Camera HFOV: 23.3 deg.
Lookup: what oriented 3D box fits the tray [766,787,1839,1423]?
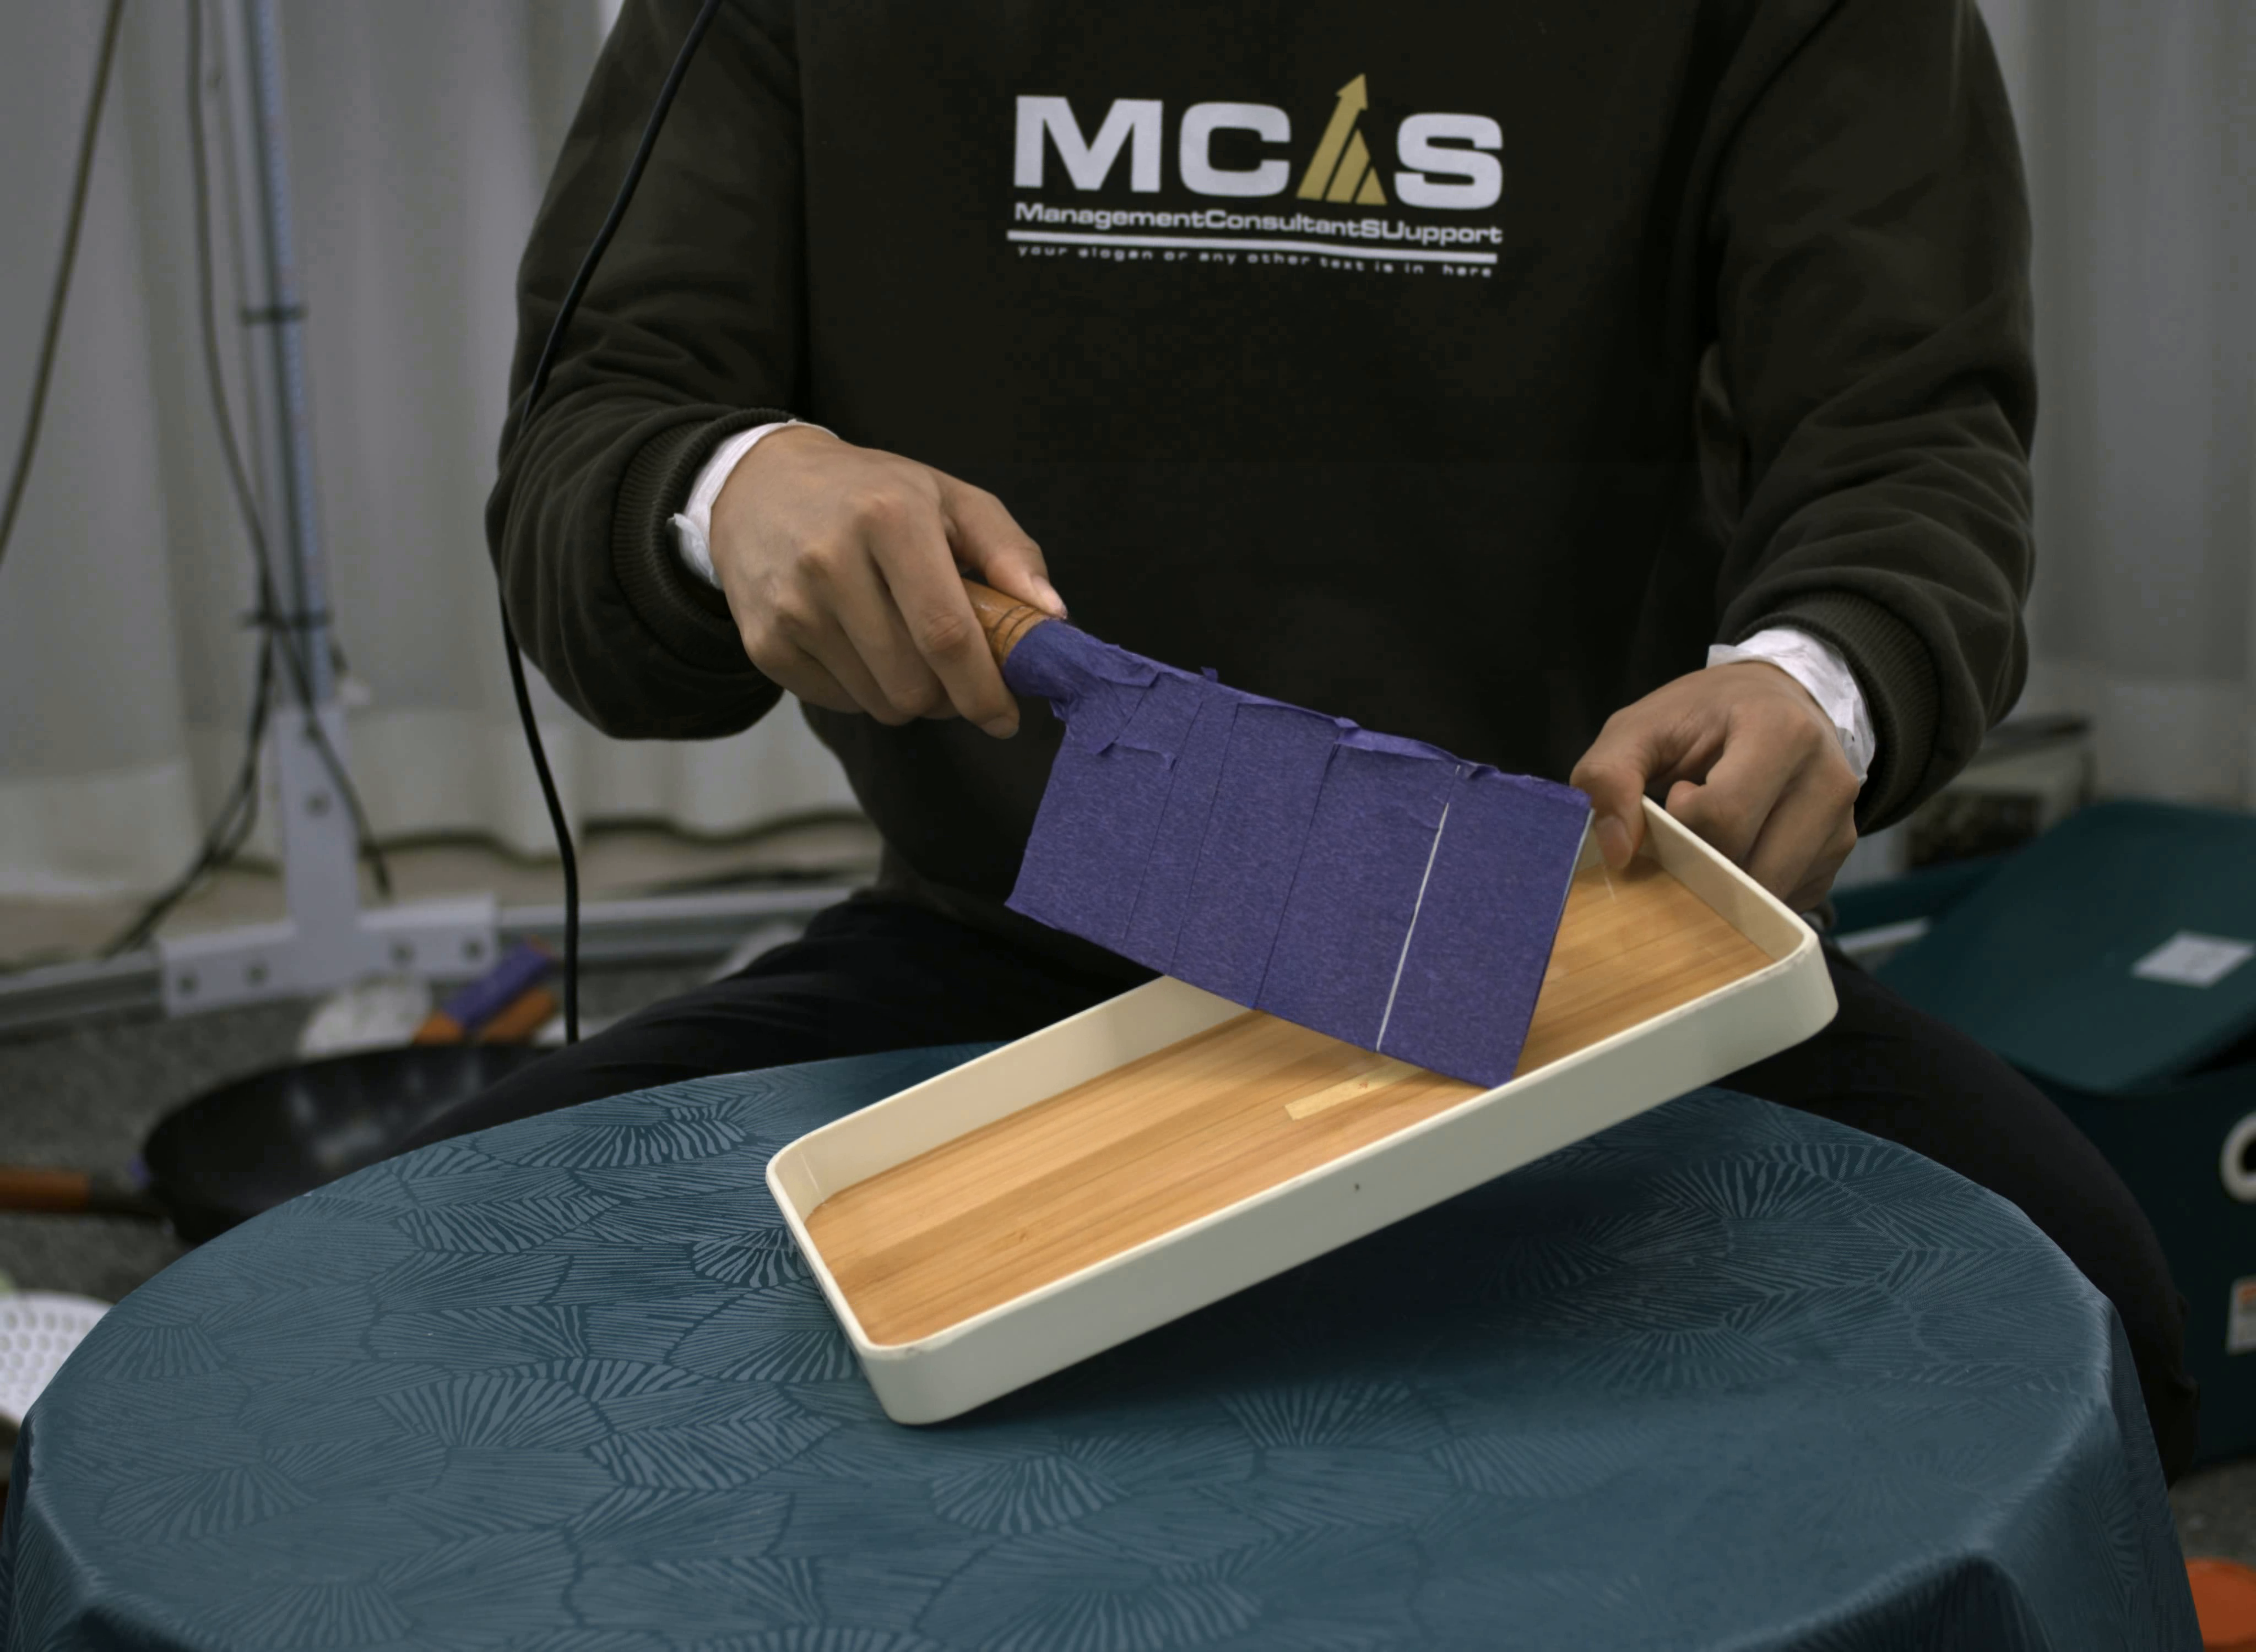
[{"bbox_3d":[0.047,0.078,1.621,0.299,0.027,0.193,-23,19,-7],"label":"tray"}]

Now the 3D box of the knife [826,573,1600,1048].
[{"bbox_3d":[0.011,-0.006,1.683,0.317,0.104,0.032,18,-1,44],"label":"knife"}]
